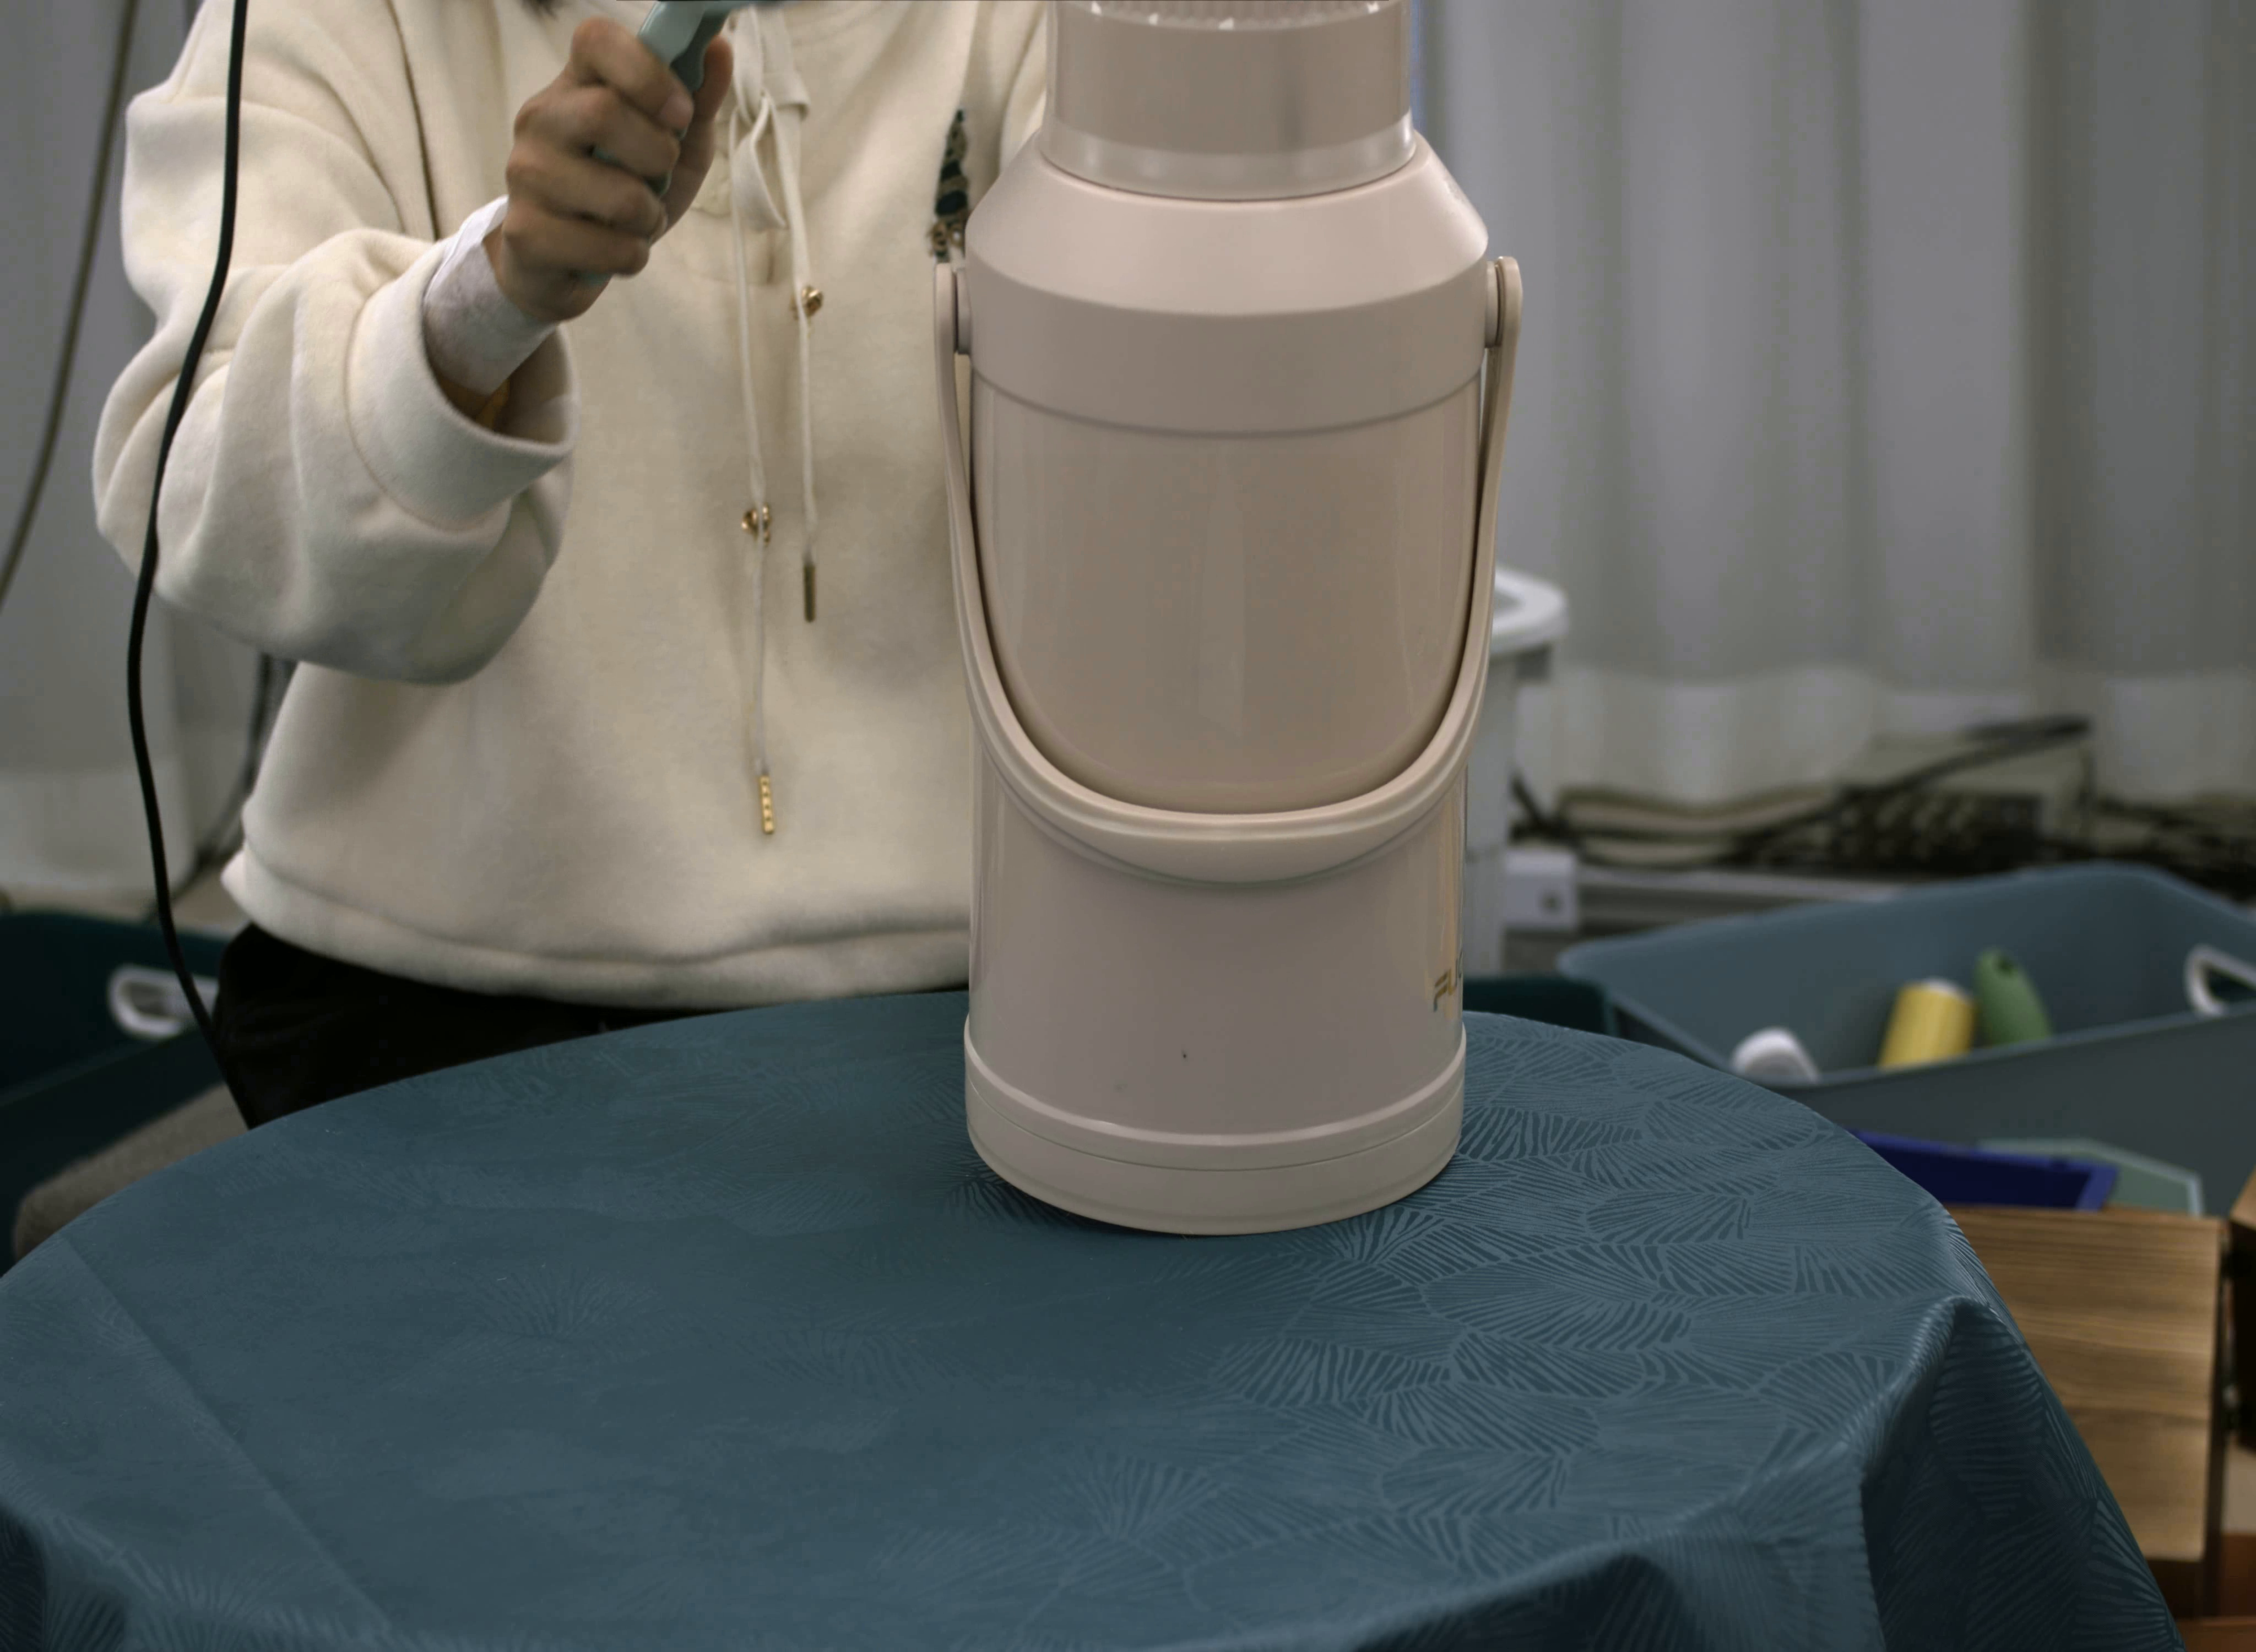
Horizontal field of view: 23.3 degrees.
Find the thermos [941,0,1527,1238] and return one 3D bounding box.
[{"bbox_3d":[0.030,-0.093,1.679,0.174,0.403,0.209,-1,22,-3],"label":"thermos"}]

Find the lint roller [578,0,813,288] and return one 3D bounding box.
[{"bbox_3d":[-0.122,-0.242,1.703,0.196,0.048,0.117,-43,-3,38],"label":"lint roller"}]
